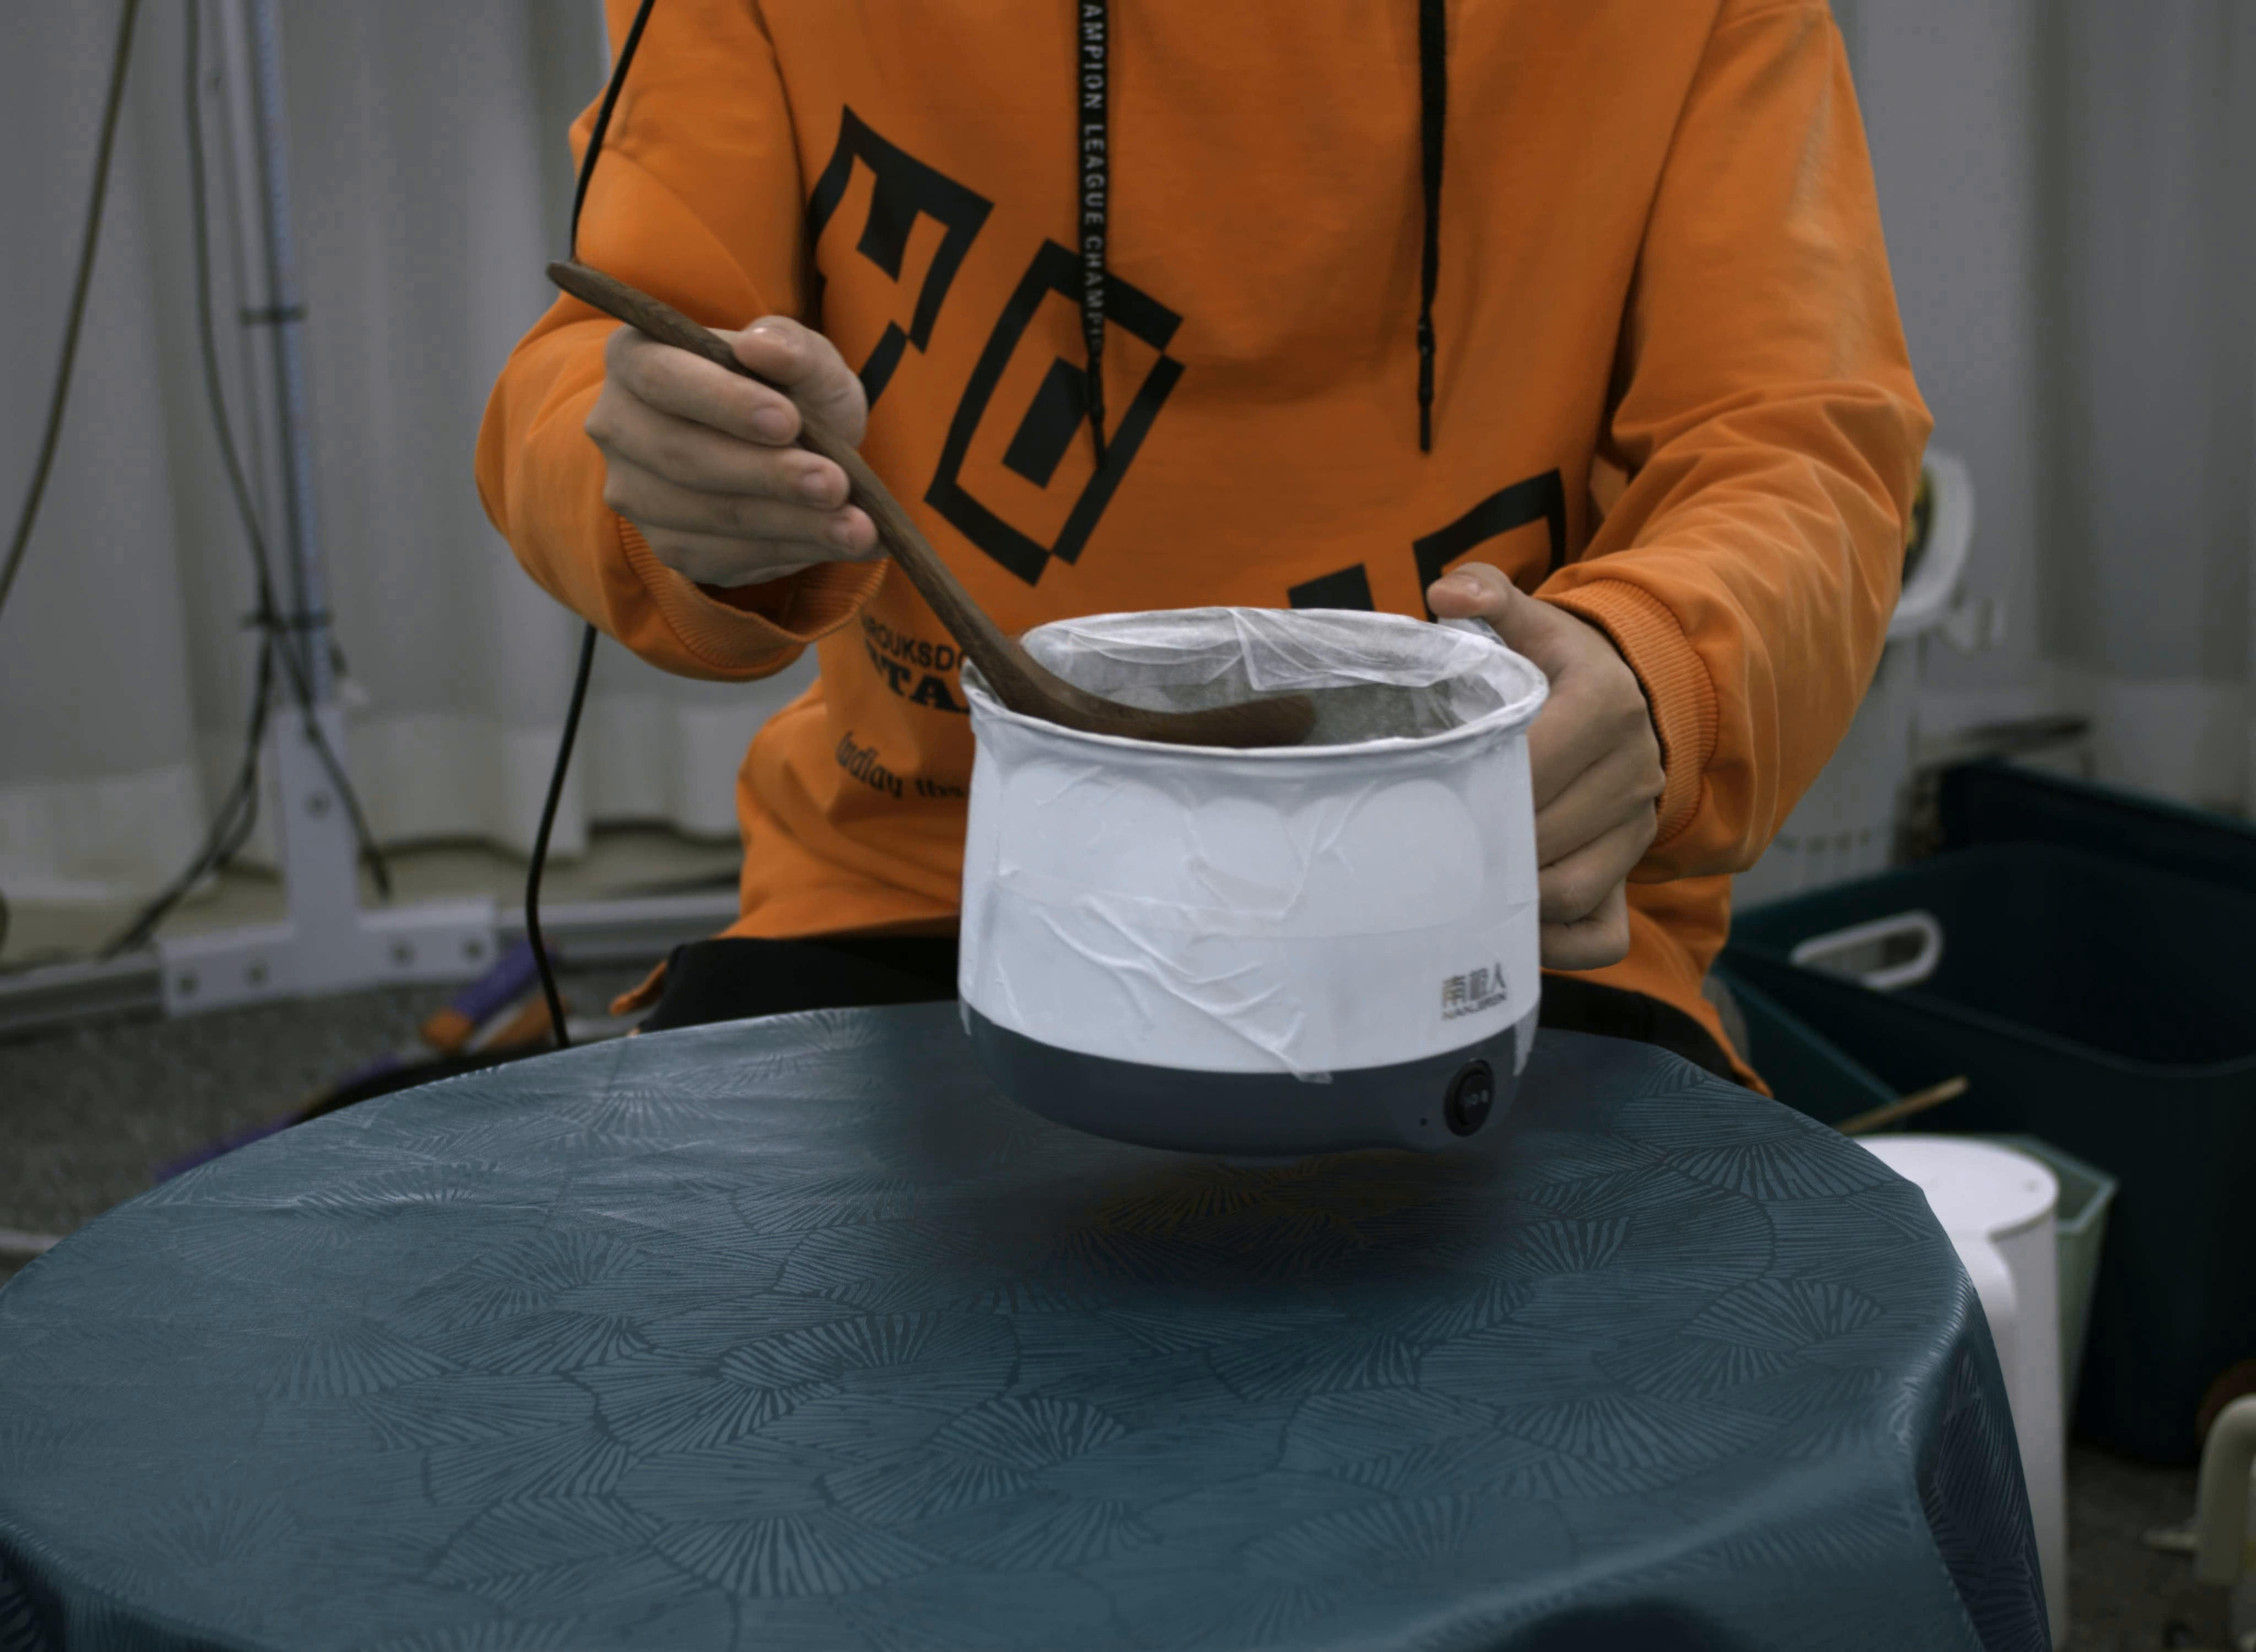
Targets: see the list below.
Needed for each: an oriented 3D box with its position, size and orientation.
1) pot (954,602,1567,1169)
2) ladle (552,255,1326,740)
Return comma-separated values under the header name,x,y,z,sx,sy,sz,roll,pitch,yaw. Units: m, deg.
name,x,y,z,sx,sy,sz,roll,pitch,yaw
pot,0.053,0.010,1.675,0.180,0.136,0.233,14,20,38
ladle,-0.056,-0.102,1.643,0.275,0.071,0.076,44,7,13
